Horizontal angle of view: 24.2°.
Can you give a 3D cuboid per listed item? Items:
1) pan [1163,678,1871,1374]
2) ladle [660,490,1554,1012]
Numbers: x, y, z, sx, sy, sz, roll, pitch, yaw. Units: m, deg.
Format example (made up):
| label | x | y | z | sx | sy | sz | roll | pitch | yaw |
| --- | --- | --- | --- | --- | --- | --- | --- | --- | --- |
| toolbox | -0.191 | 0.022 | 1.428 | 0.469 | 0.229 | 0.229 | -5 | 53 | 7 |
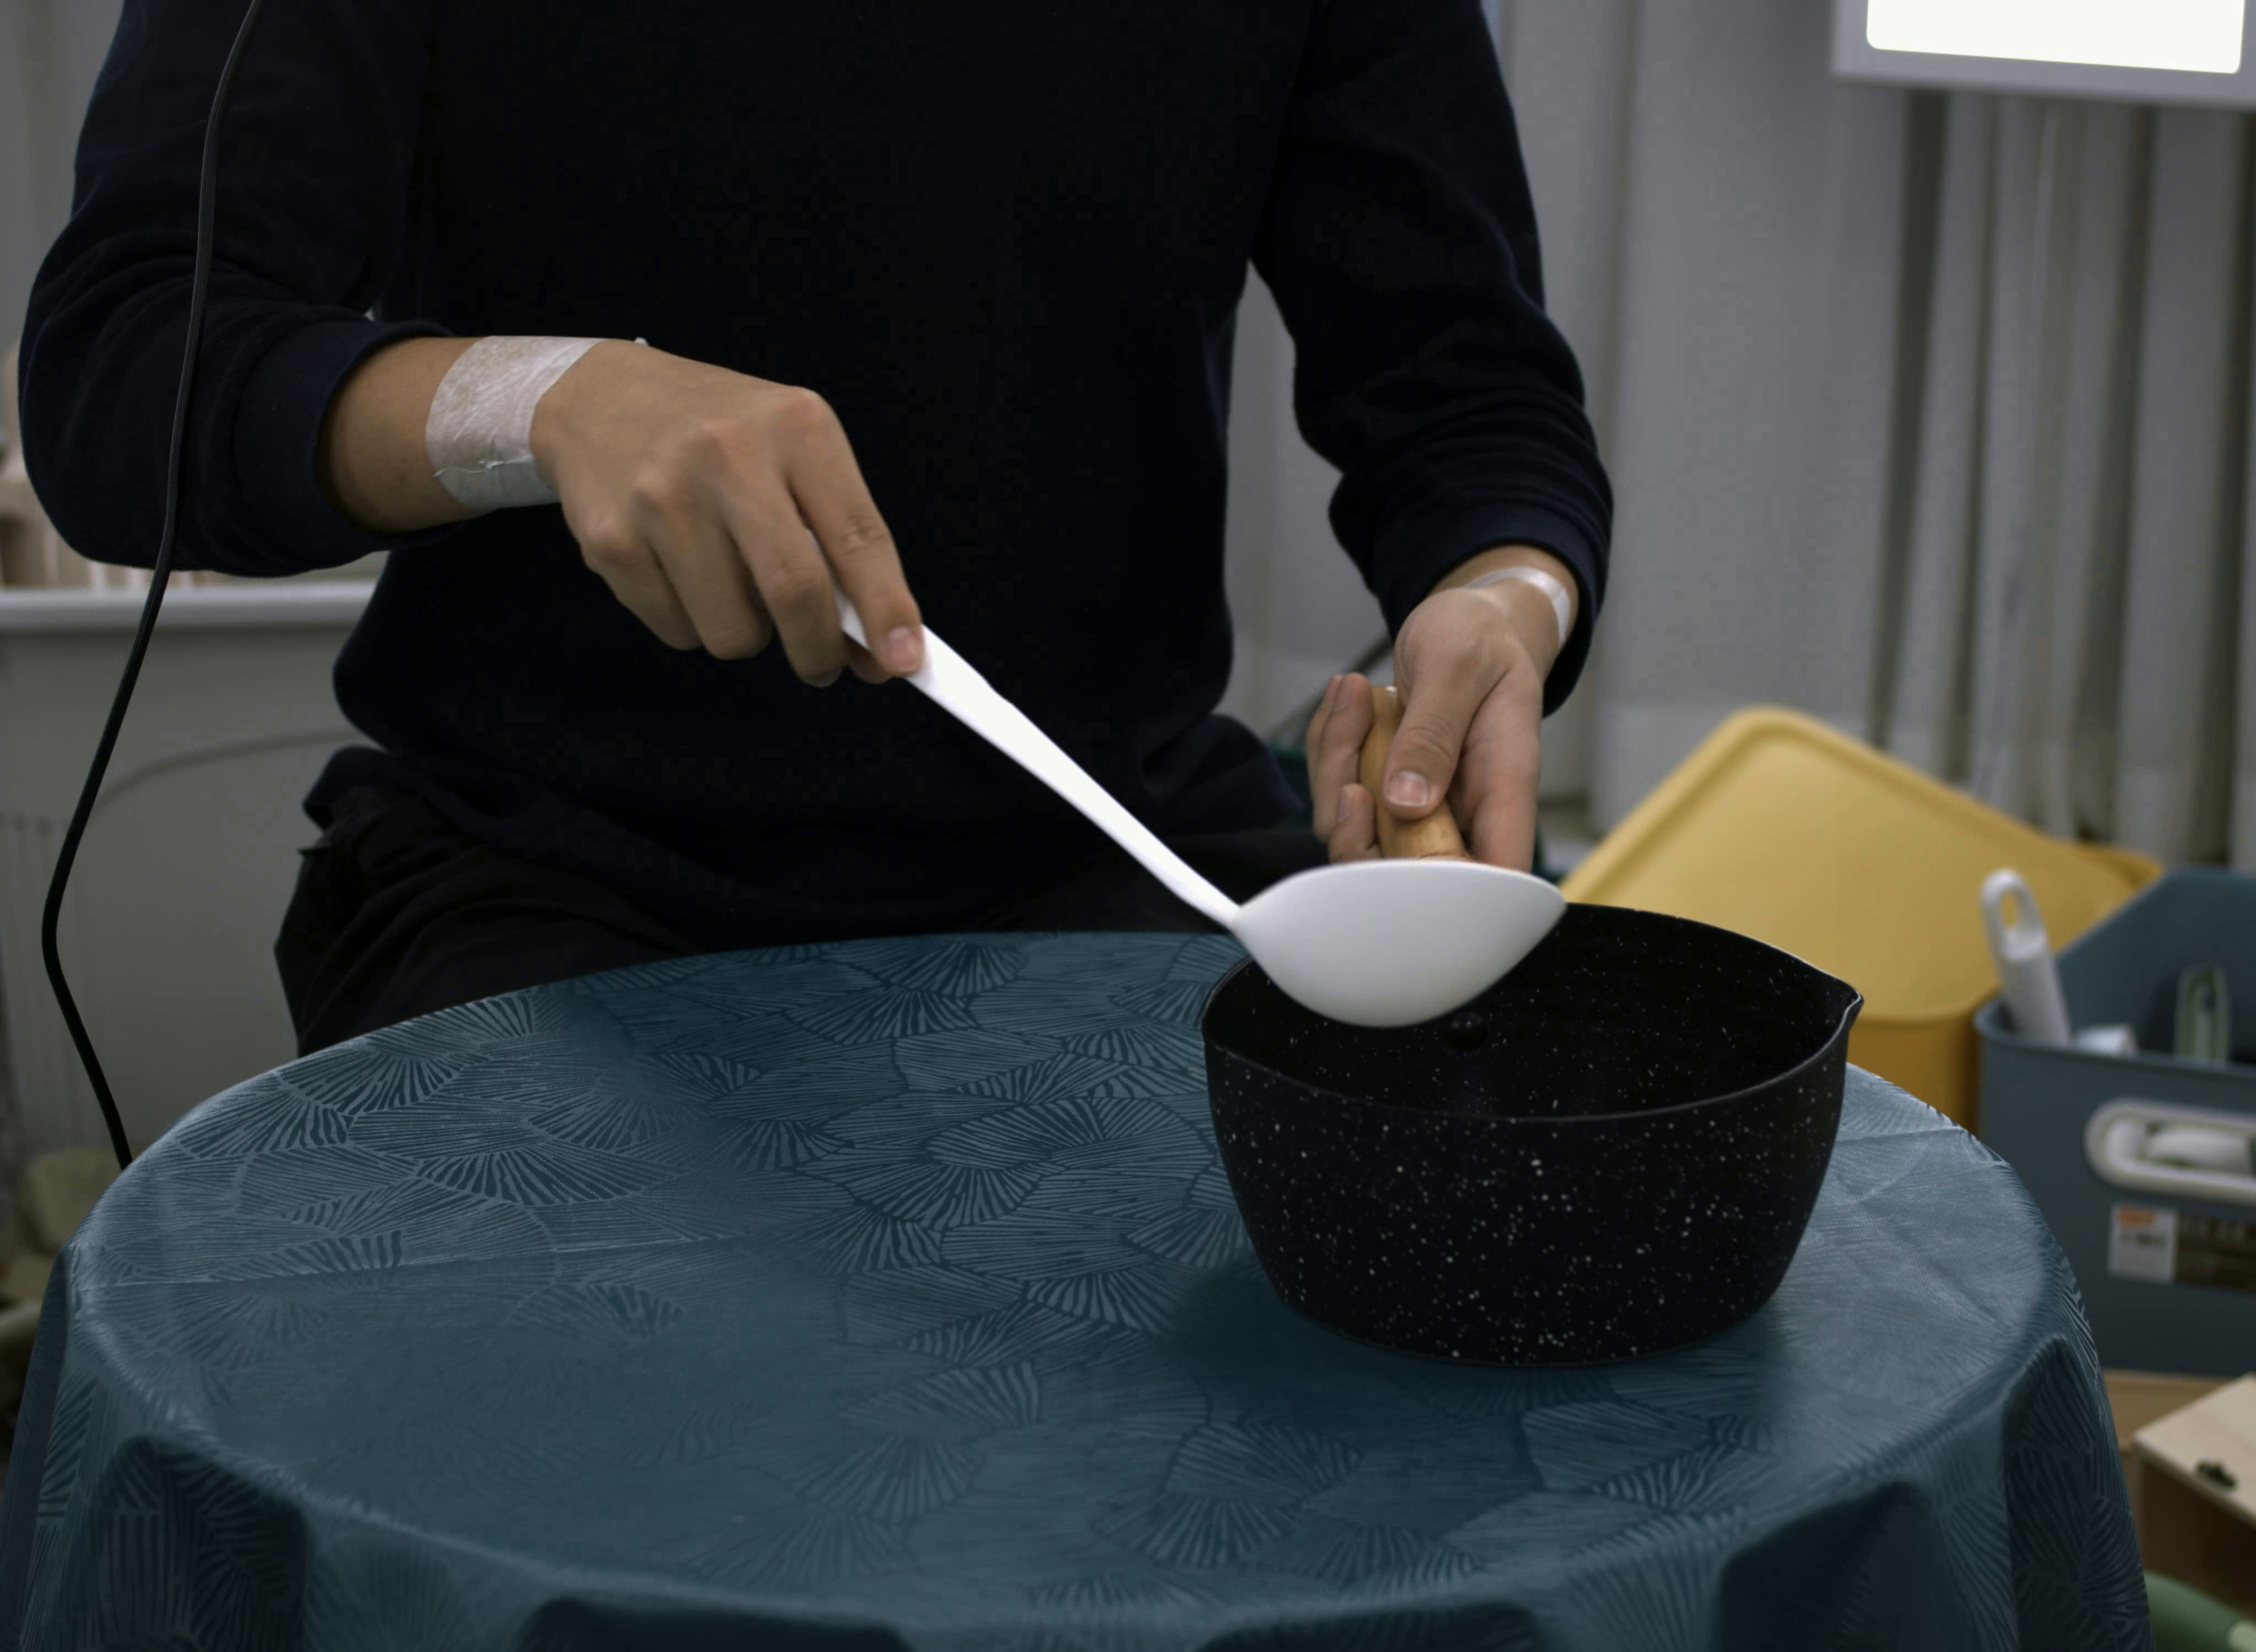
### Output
| label | x | y | z | sx | sy | sz | roll | pitch | yaw |
| --- | --- | --- | --- | --- | --- | --- | --- | --- | --- |
| pan | 0.103 | 0.055 | 1.606 | 0.207 | 0.109 | 0.339 | -4 | 20 | -9 |
| ladle | -0.014 | -0.032 | 1.477 | 0.289 | 0.070 | 0.091 | 34 | 12 | 29 |
